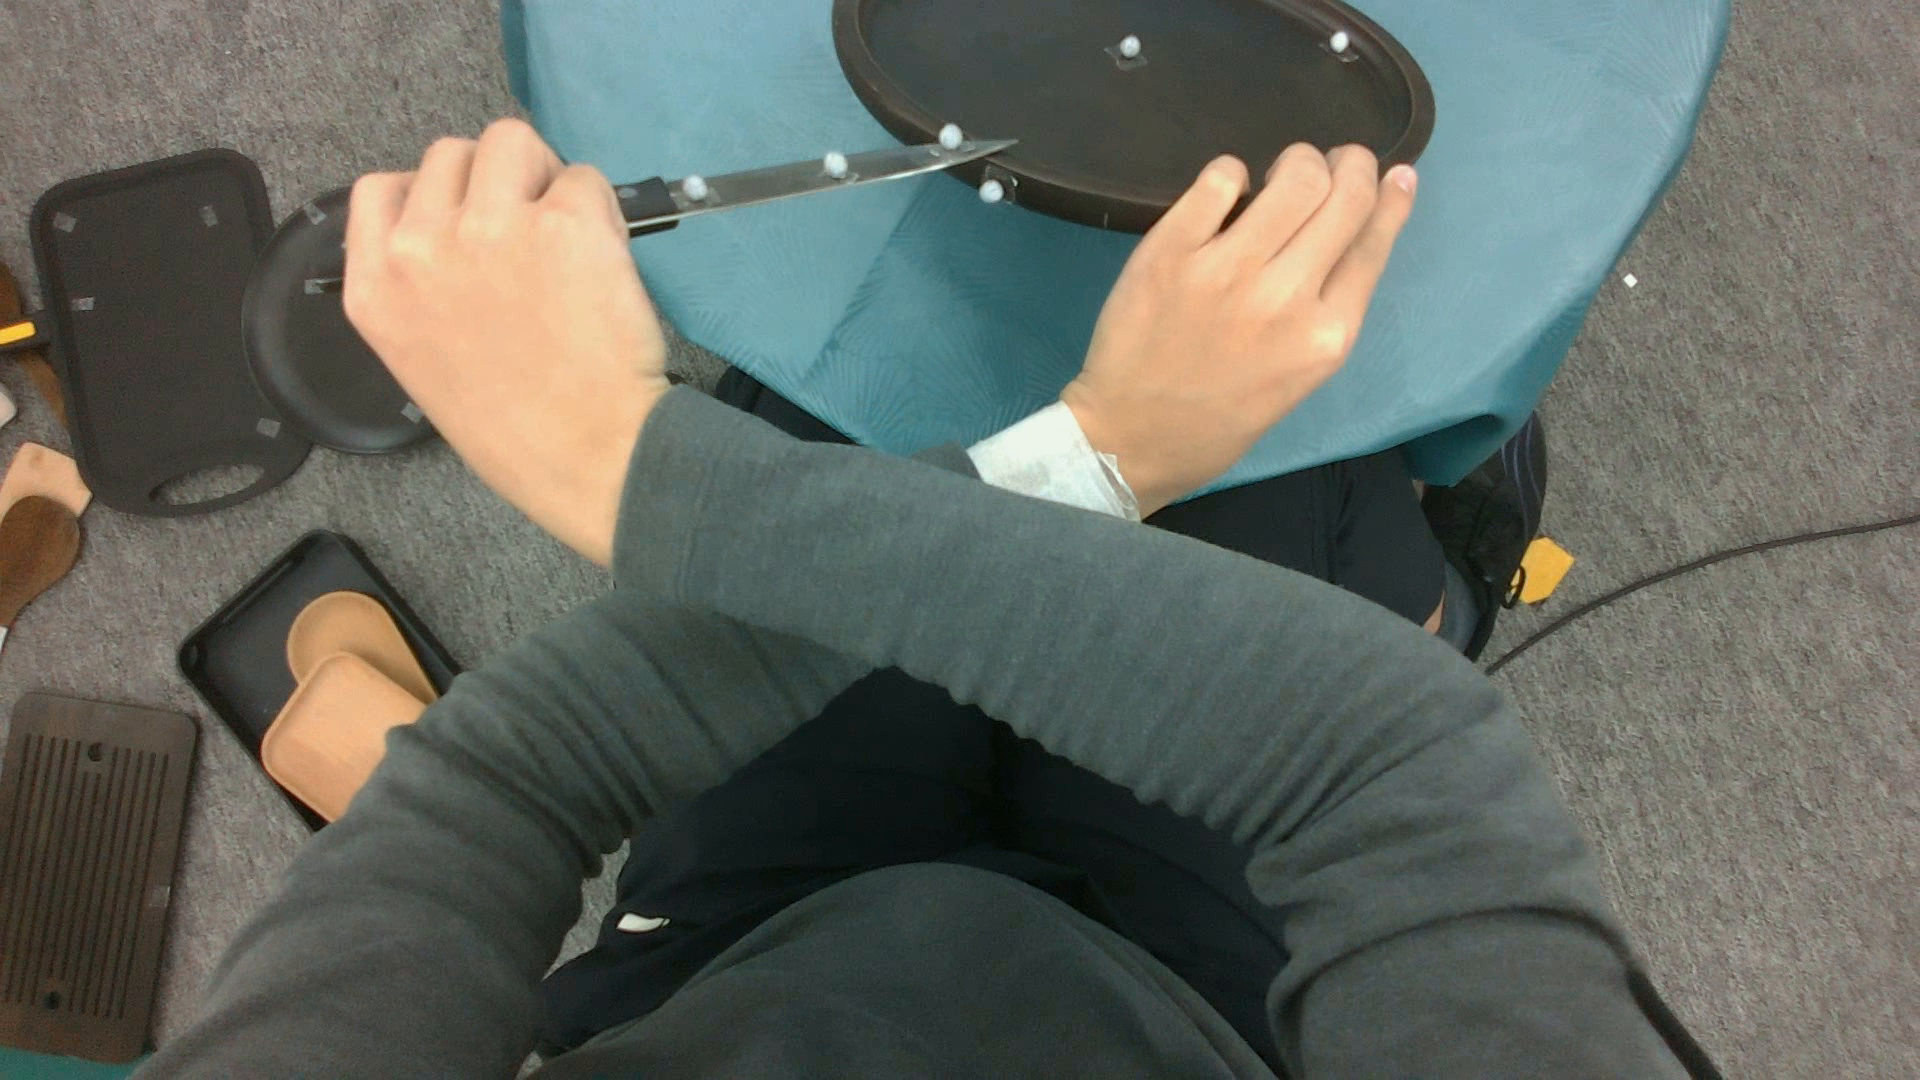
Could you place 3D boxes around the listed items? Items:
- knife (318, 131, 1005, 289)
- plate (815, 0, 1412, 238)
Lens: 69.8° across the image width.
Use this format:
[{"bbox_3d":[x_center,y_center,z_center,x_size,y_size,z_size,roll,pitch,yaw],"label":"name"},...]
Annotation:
[{"bbox_3d":[-0.093,-0.117,0.470,0.238,0.016,0.024,-16,42,-16],"label":"knife"},{"bbox_3d":[0.066,-0.203,0.586,0.255,0.029,0.256,5,44,-4],"label":"plate"}]
